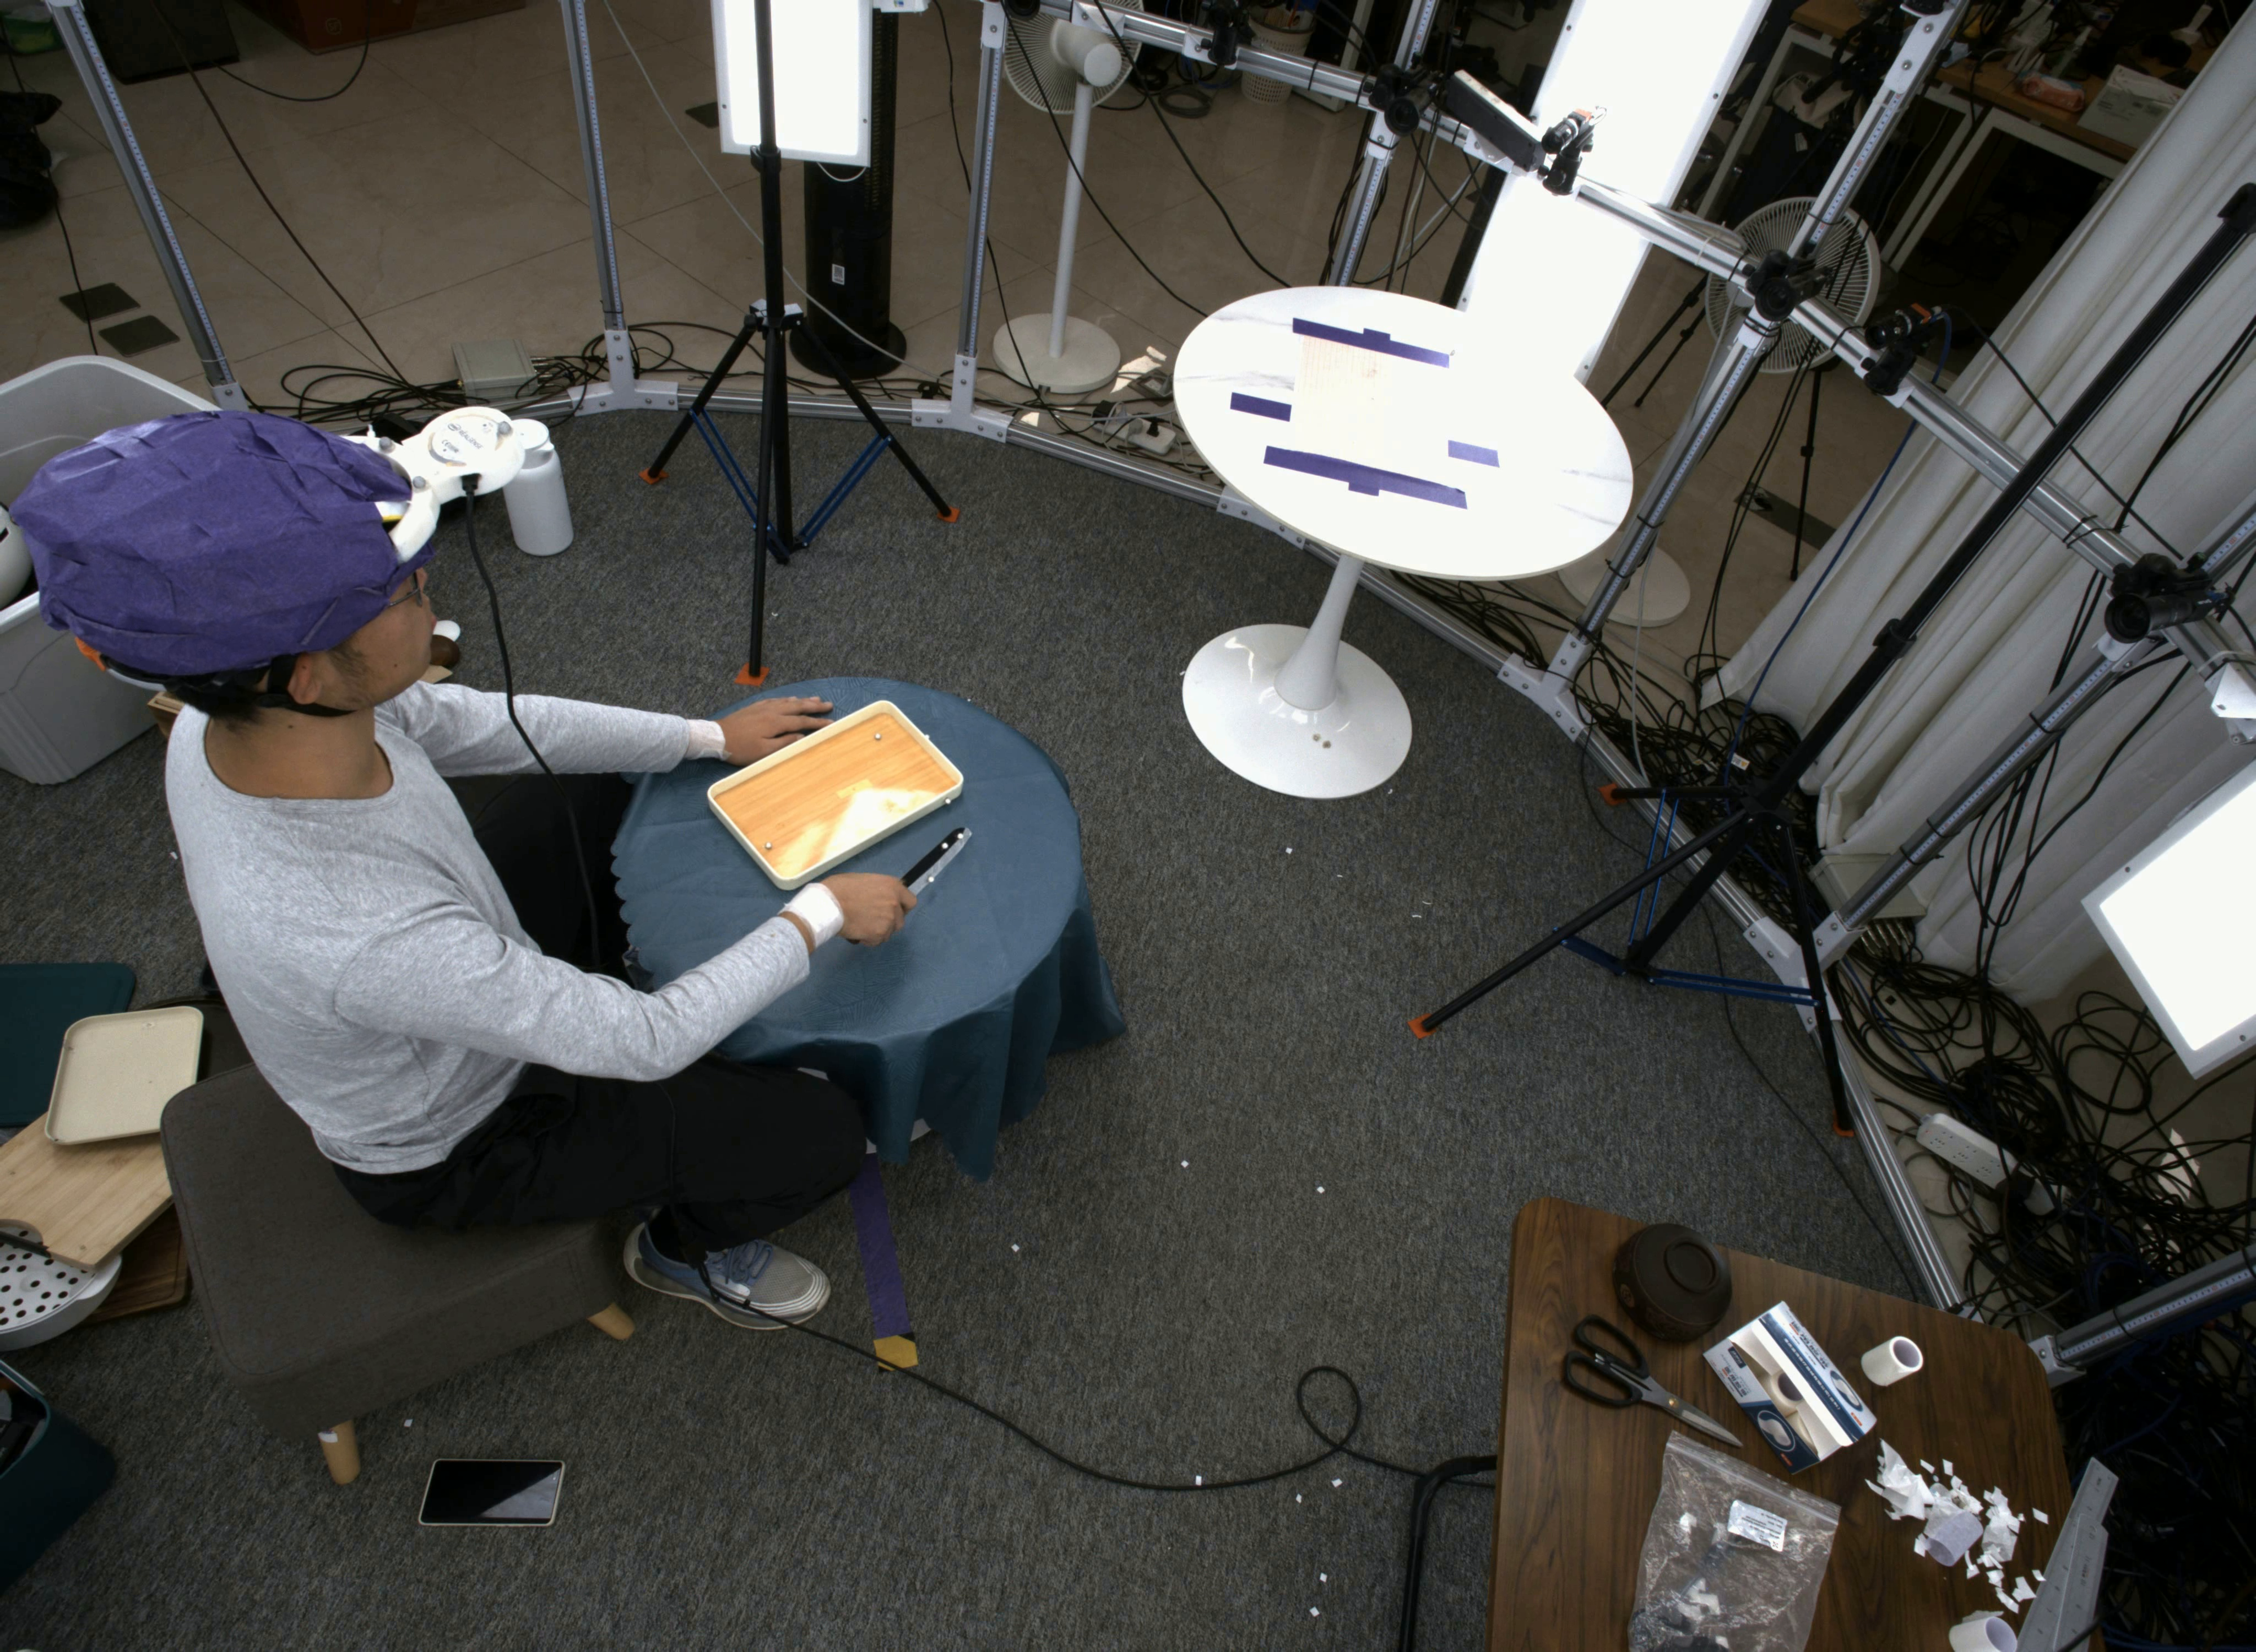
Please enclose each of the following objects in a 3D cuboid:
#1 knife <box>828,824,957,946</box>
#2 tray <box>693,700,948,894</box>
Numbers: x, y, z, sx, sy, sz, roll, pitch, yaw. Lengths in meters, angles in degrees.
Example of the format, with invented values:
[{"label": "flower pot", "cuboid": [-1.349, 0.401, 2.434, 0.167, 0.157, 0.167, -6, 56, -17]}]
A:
[{"label": "knife", "cuboid": [-0.292, 0.069, 1.659, 0.019, 0.052, 0.288, 14, 33, 20]}, {"label": "tray", "cuboid": [-0.413, -0.046, 1.756, 0.301, 0.028, 0.187, -34, 68, -32]}]
